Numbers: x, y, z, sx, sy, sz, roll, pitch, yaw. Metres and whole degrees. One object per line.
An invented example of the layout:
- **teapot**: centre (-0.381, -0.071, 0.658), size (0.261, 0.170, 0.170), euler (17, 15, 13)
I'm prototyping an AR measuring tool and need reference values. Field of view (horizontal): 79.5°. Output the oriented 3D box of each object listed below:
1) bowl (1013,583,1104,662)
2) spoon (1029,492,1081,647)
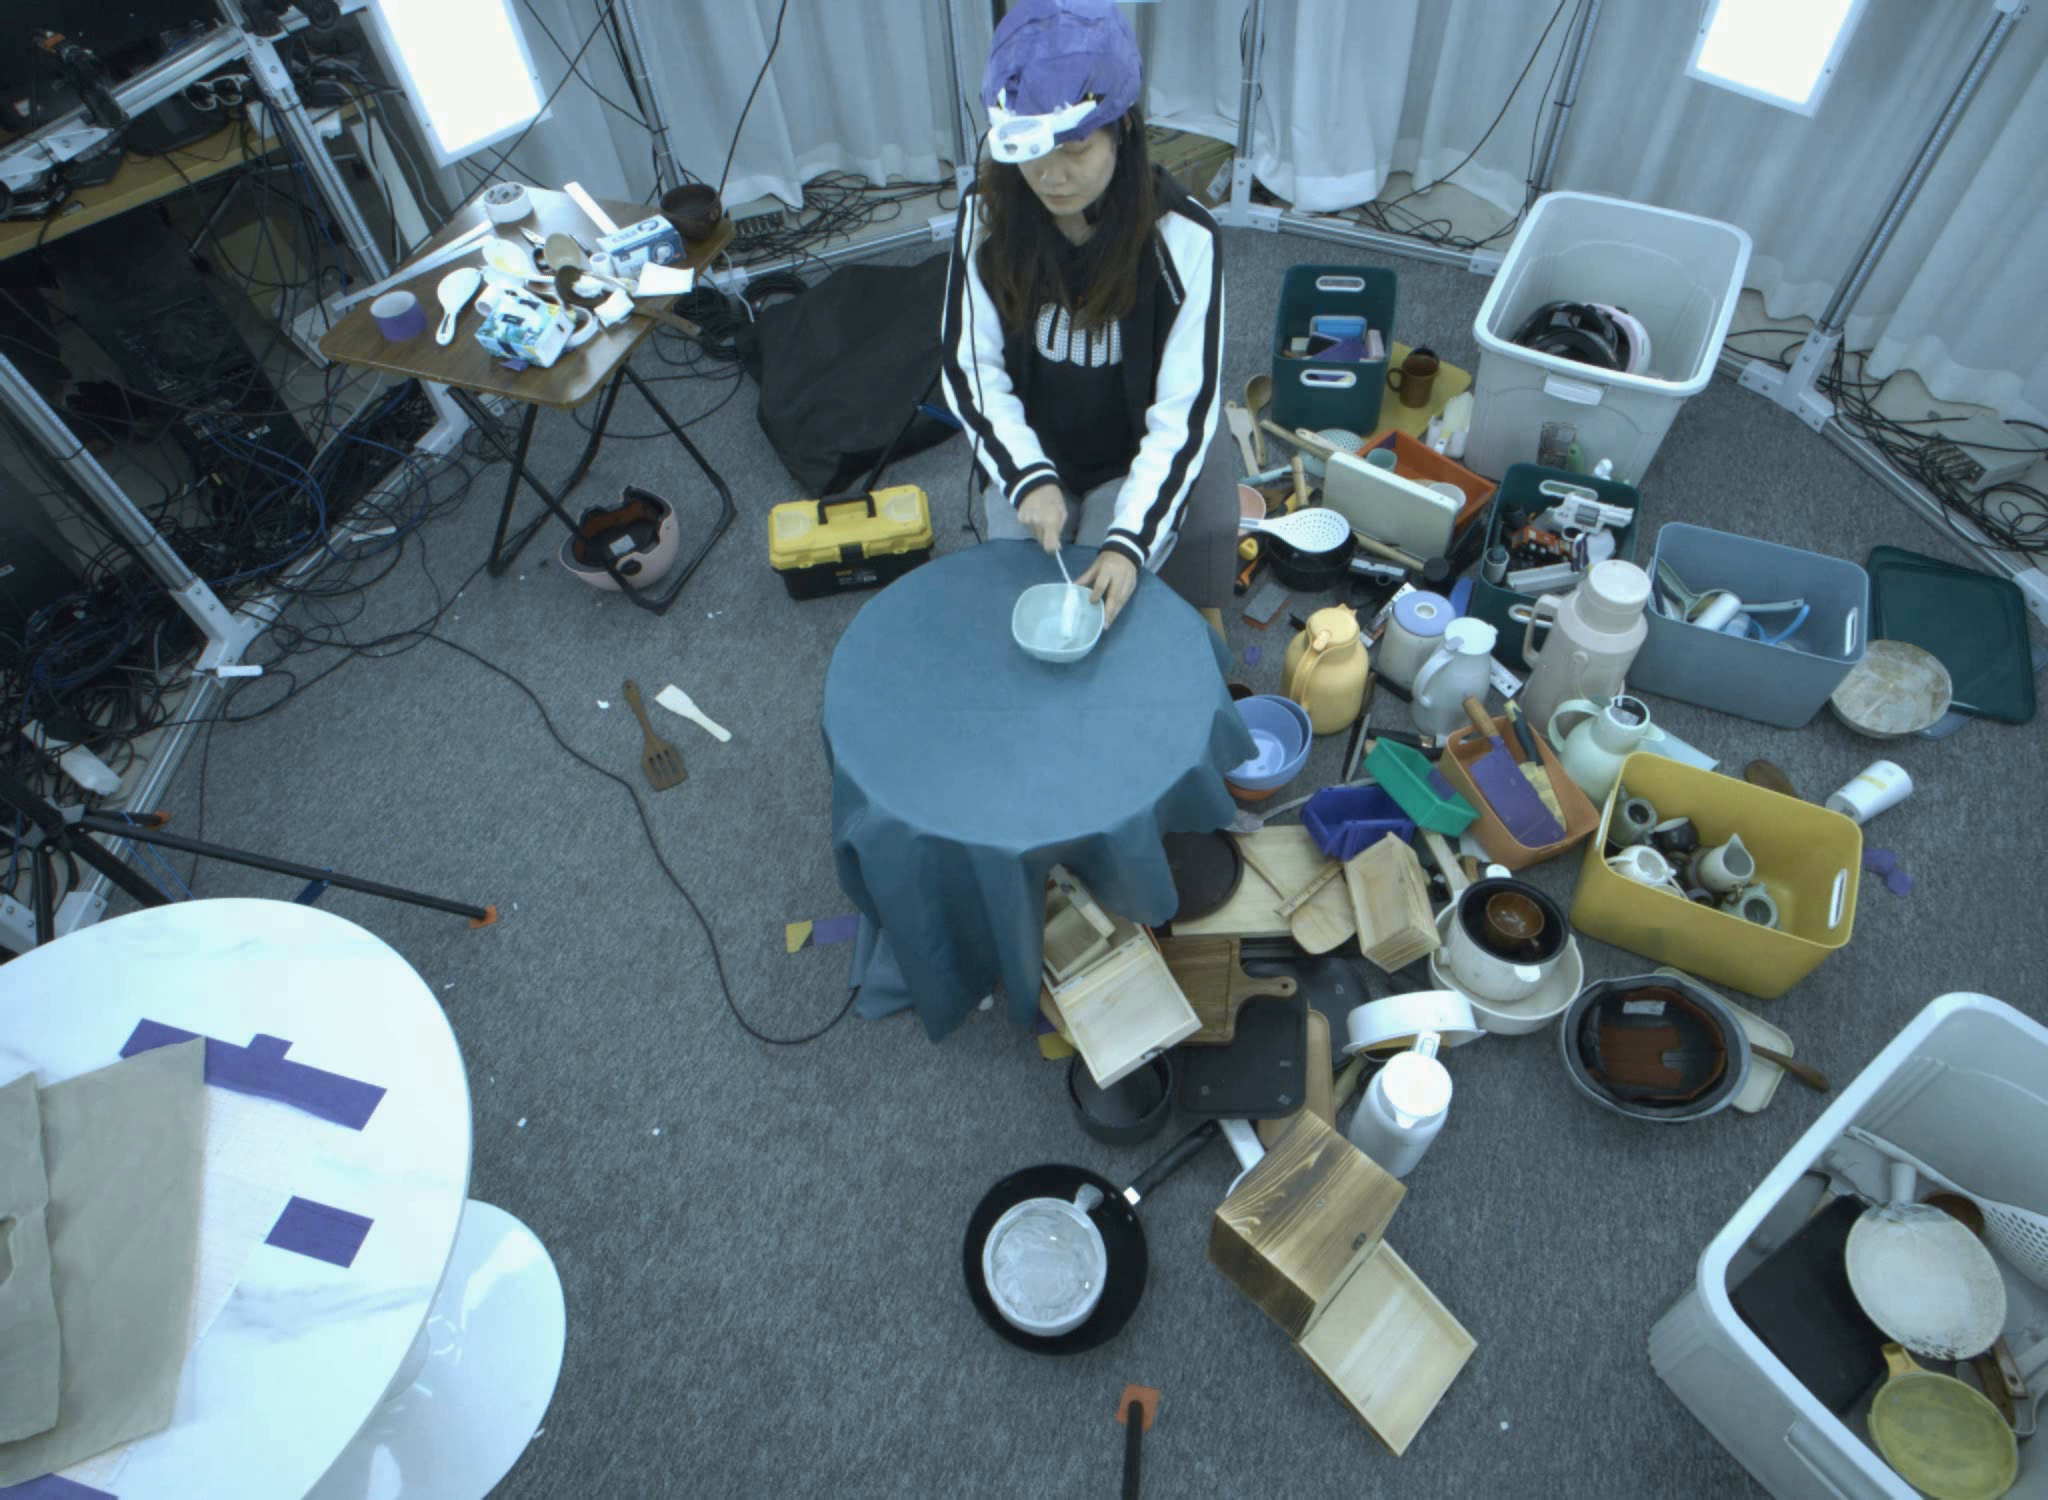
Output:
- **bowl**: centre (0.053, -0.186, 1.886), size (0.151, 0.059, 0.150), euler (0, 55, 2)
- **spoon**: centre (0.031, -0.285, 1.870), size (0.060, 0.101, 0.274), euler (-17, 67, -10)
